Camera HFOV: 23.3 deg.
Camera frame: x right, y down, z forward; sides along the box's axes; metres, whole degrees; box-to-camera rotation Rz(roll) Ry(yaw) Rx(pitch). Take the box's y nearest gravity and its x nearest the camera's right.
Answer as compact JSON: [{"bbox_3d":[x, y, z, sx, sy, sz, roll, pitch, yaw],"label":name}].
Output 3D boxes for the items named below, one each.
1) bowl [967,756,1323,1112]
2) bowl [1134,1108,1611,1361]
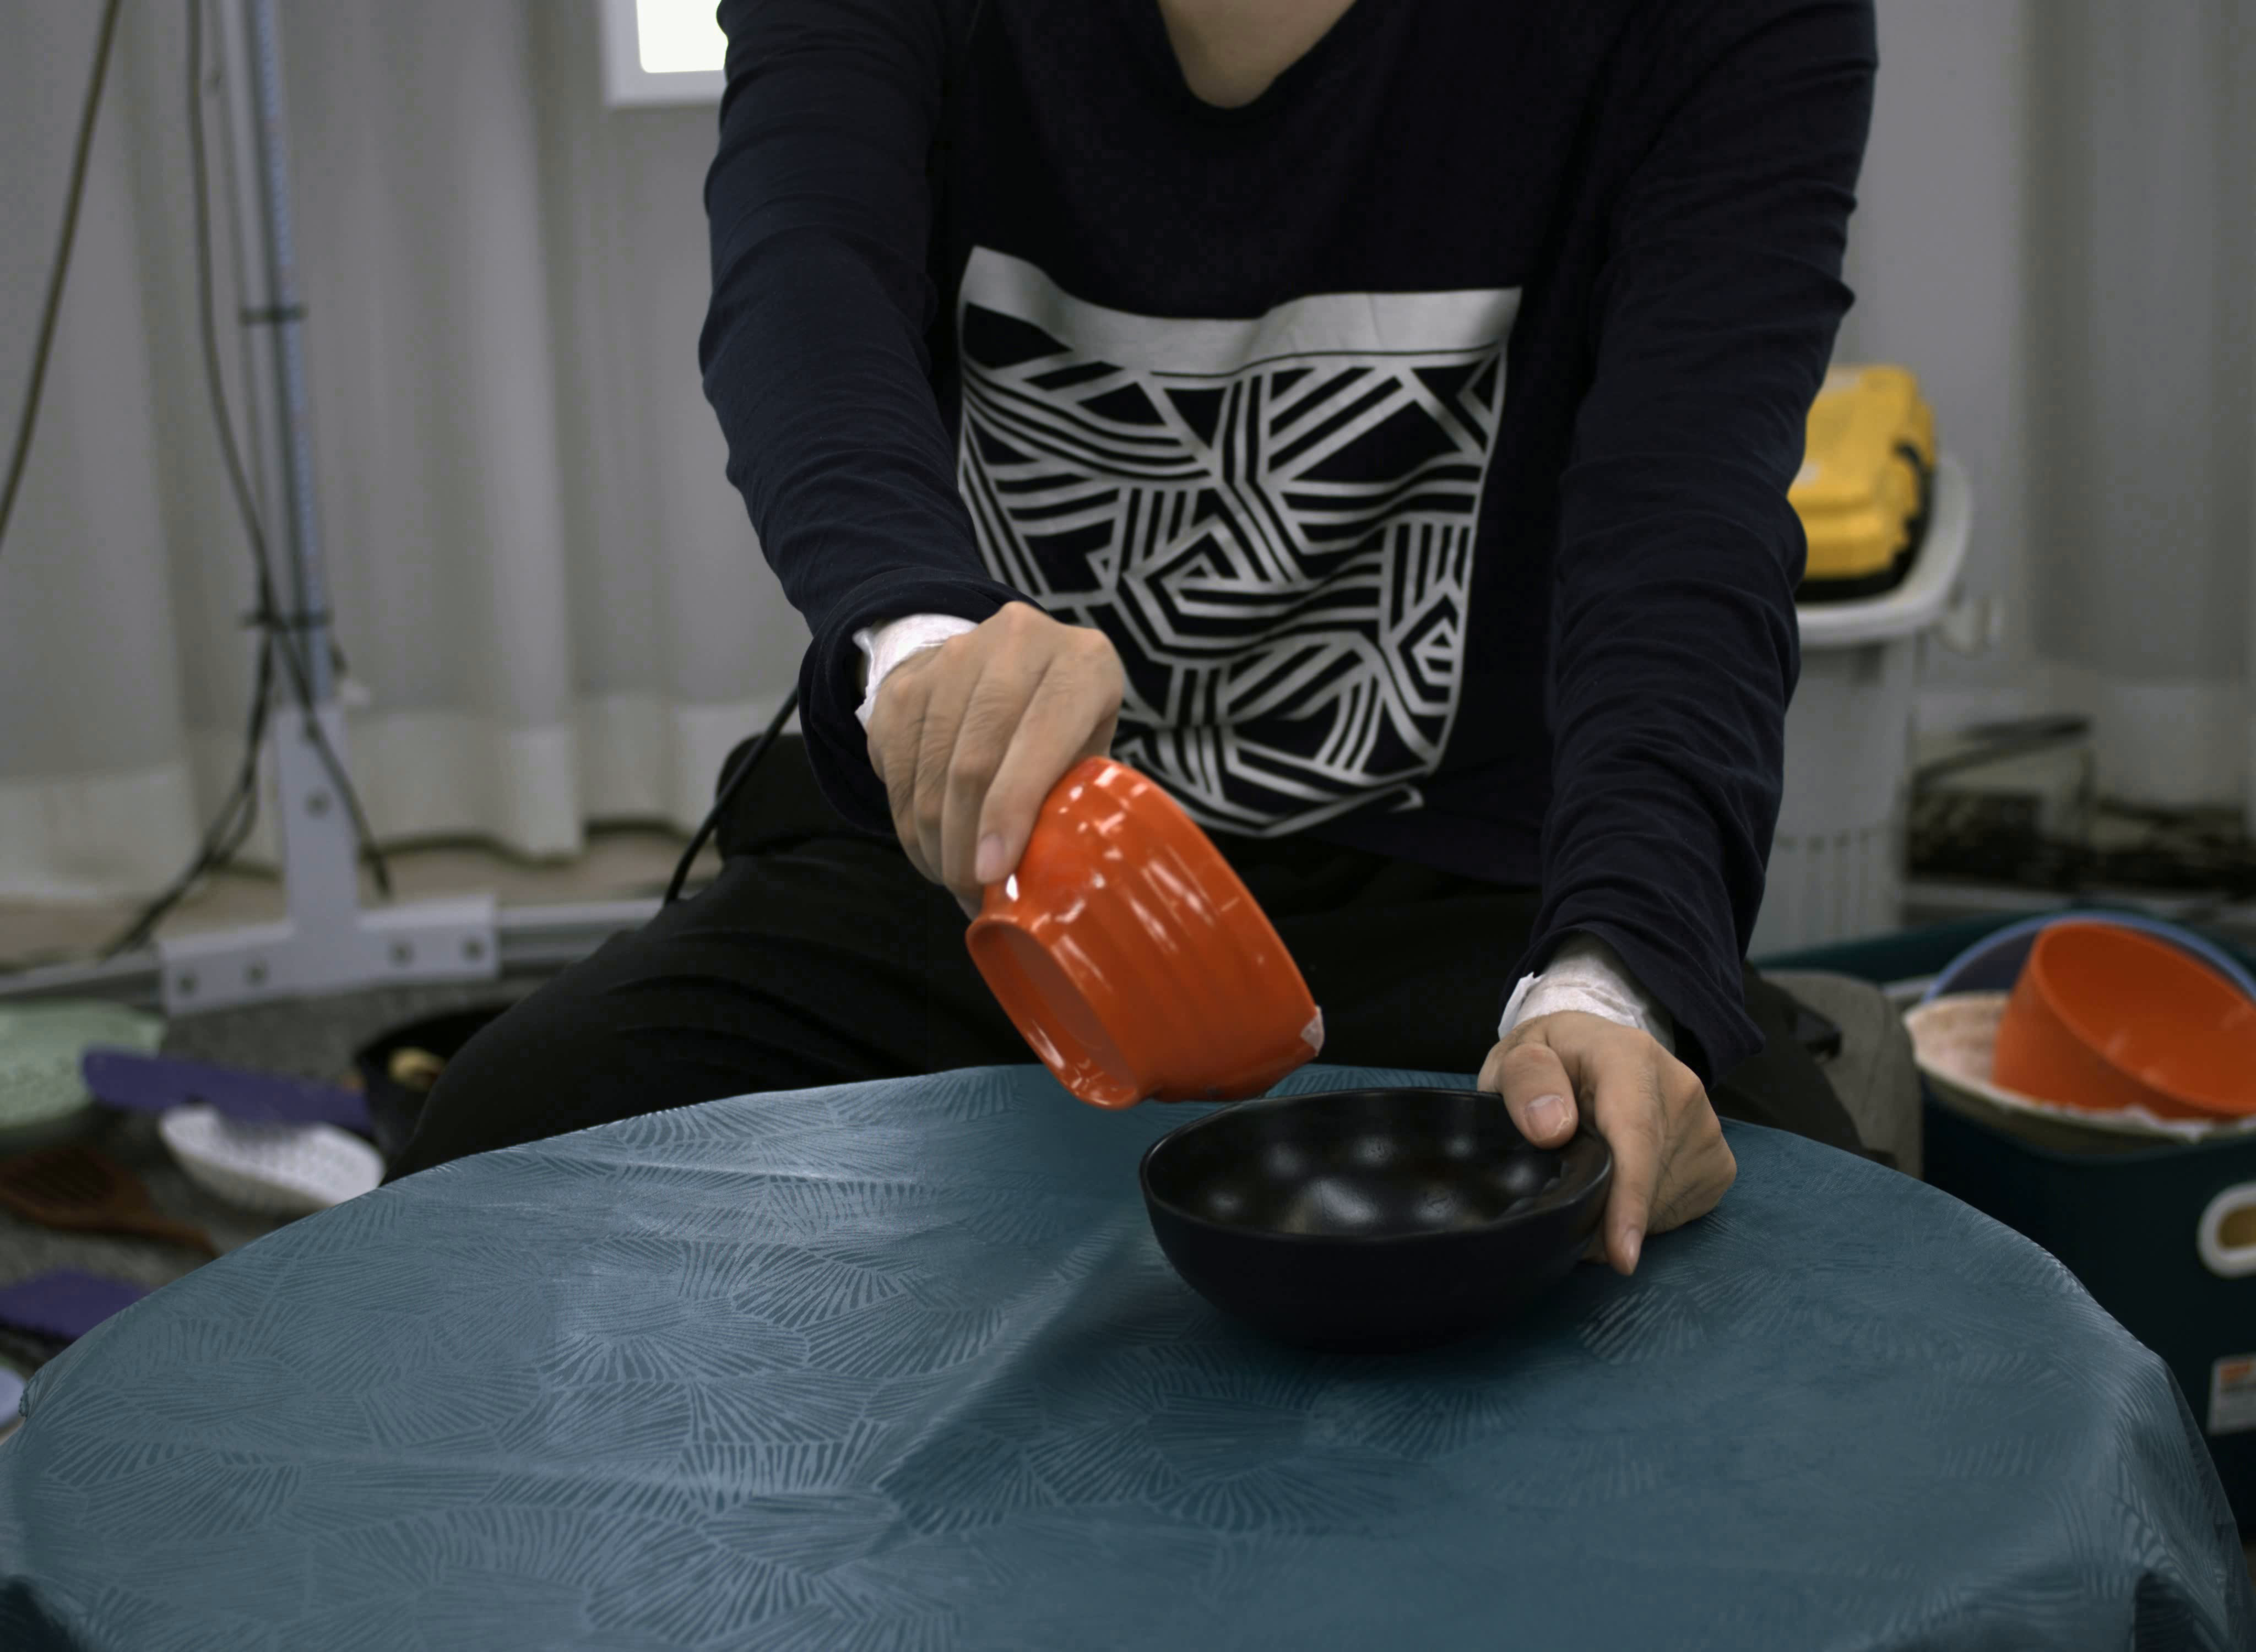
[{"bbox_3d":[-0.003,0.039,1.543,0.051,0.118,0.120,-39,28,-17],"label":"bowl"},{"bbox_3d":[0.072,0.122,1.590,0.139,0.049,0.140,-2,11,0],"label":"bowl"}]
